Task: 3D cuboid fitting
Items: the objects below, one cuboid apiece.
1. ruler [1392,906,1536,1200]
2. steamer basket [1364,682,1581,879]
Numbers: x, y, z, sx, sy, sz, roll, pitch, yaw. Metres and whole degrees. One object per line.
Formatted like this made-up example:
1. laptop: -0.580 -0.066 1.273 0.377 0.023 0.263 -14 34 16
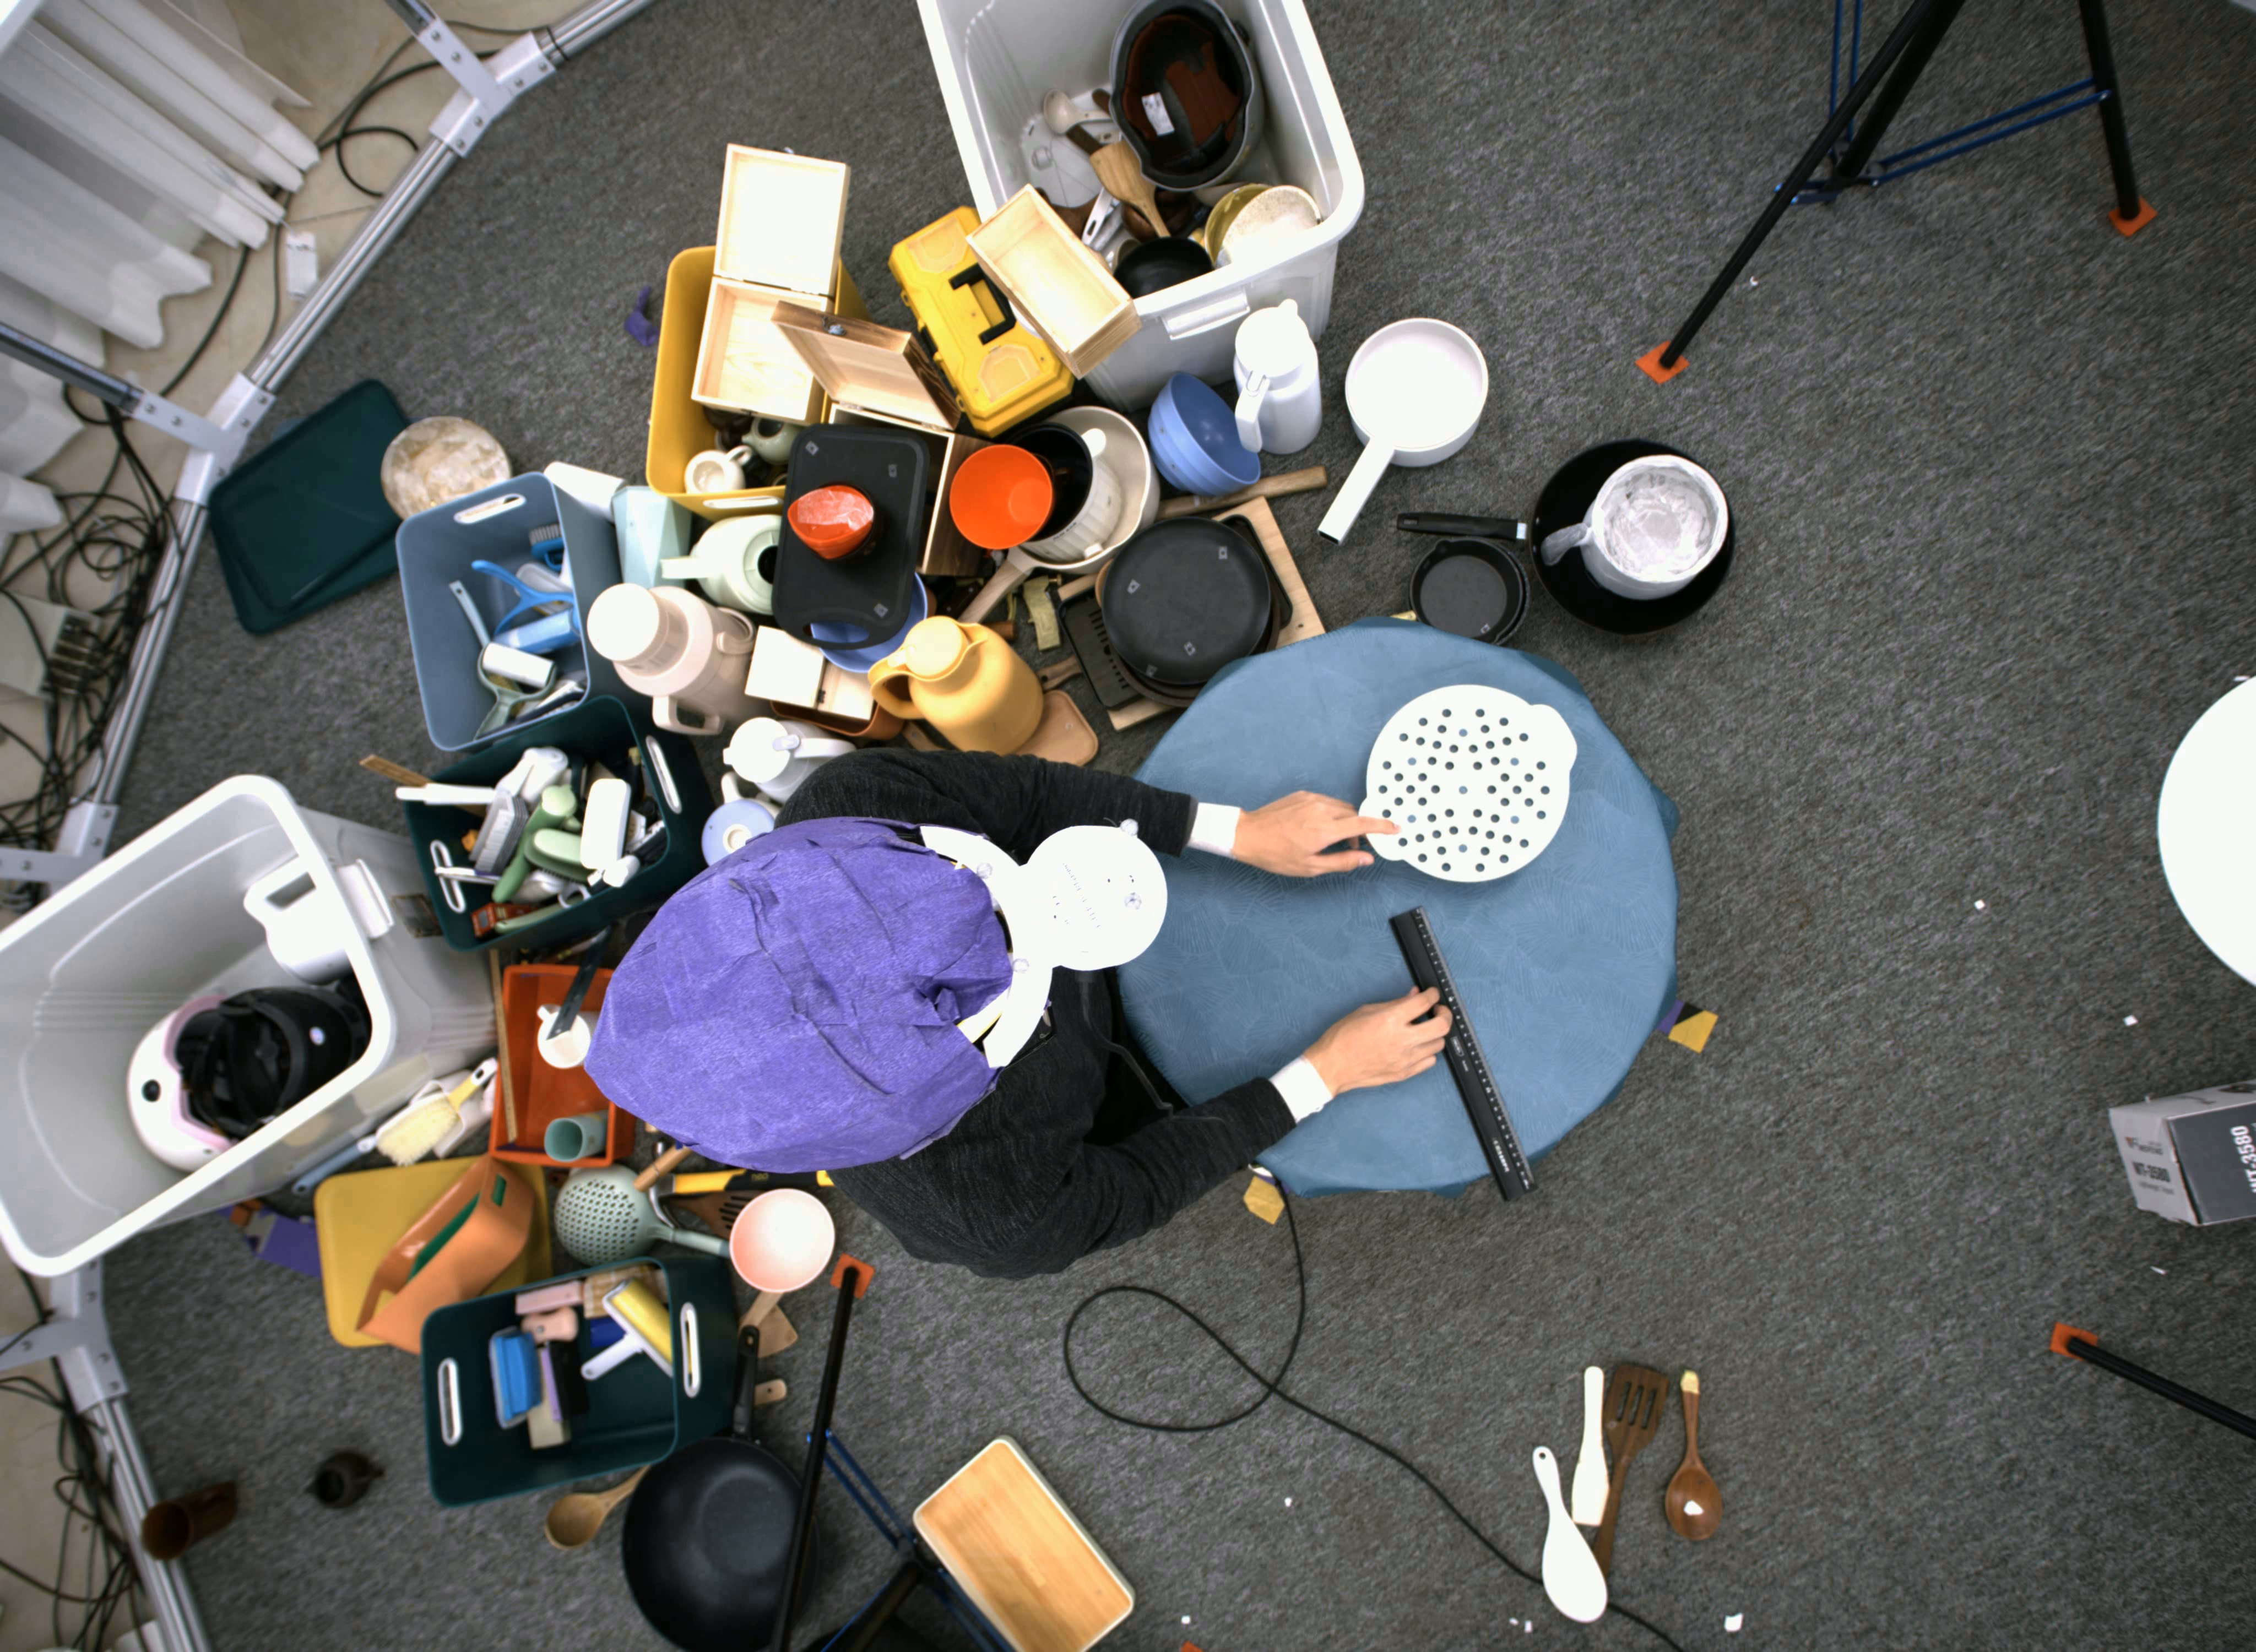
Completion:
1. ruler: 0.348 0.231 1.428 0.039 0.017 0.310 -22 83 7
2. steamer basket: 0.352 -0.046 1.417 0.231 0.069 0.200 -30 82 5
